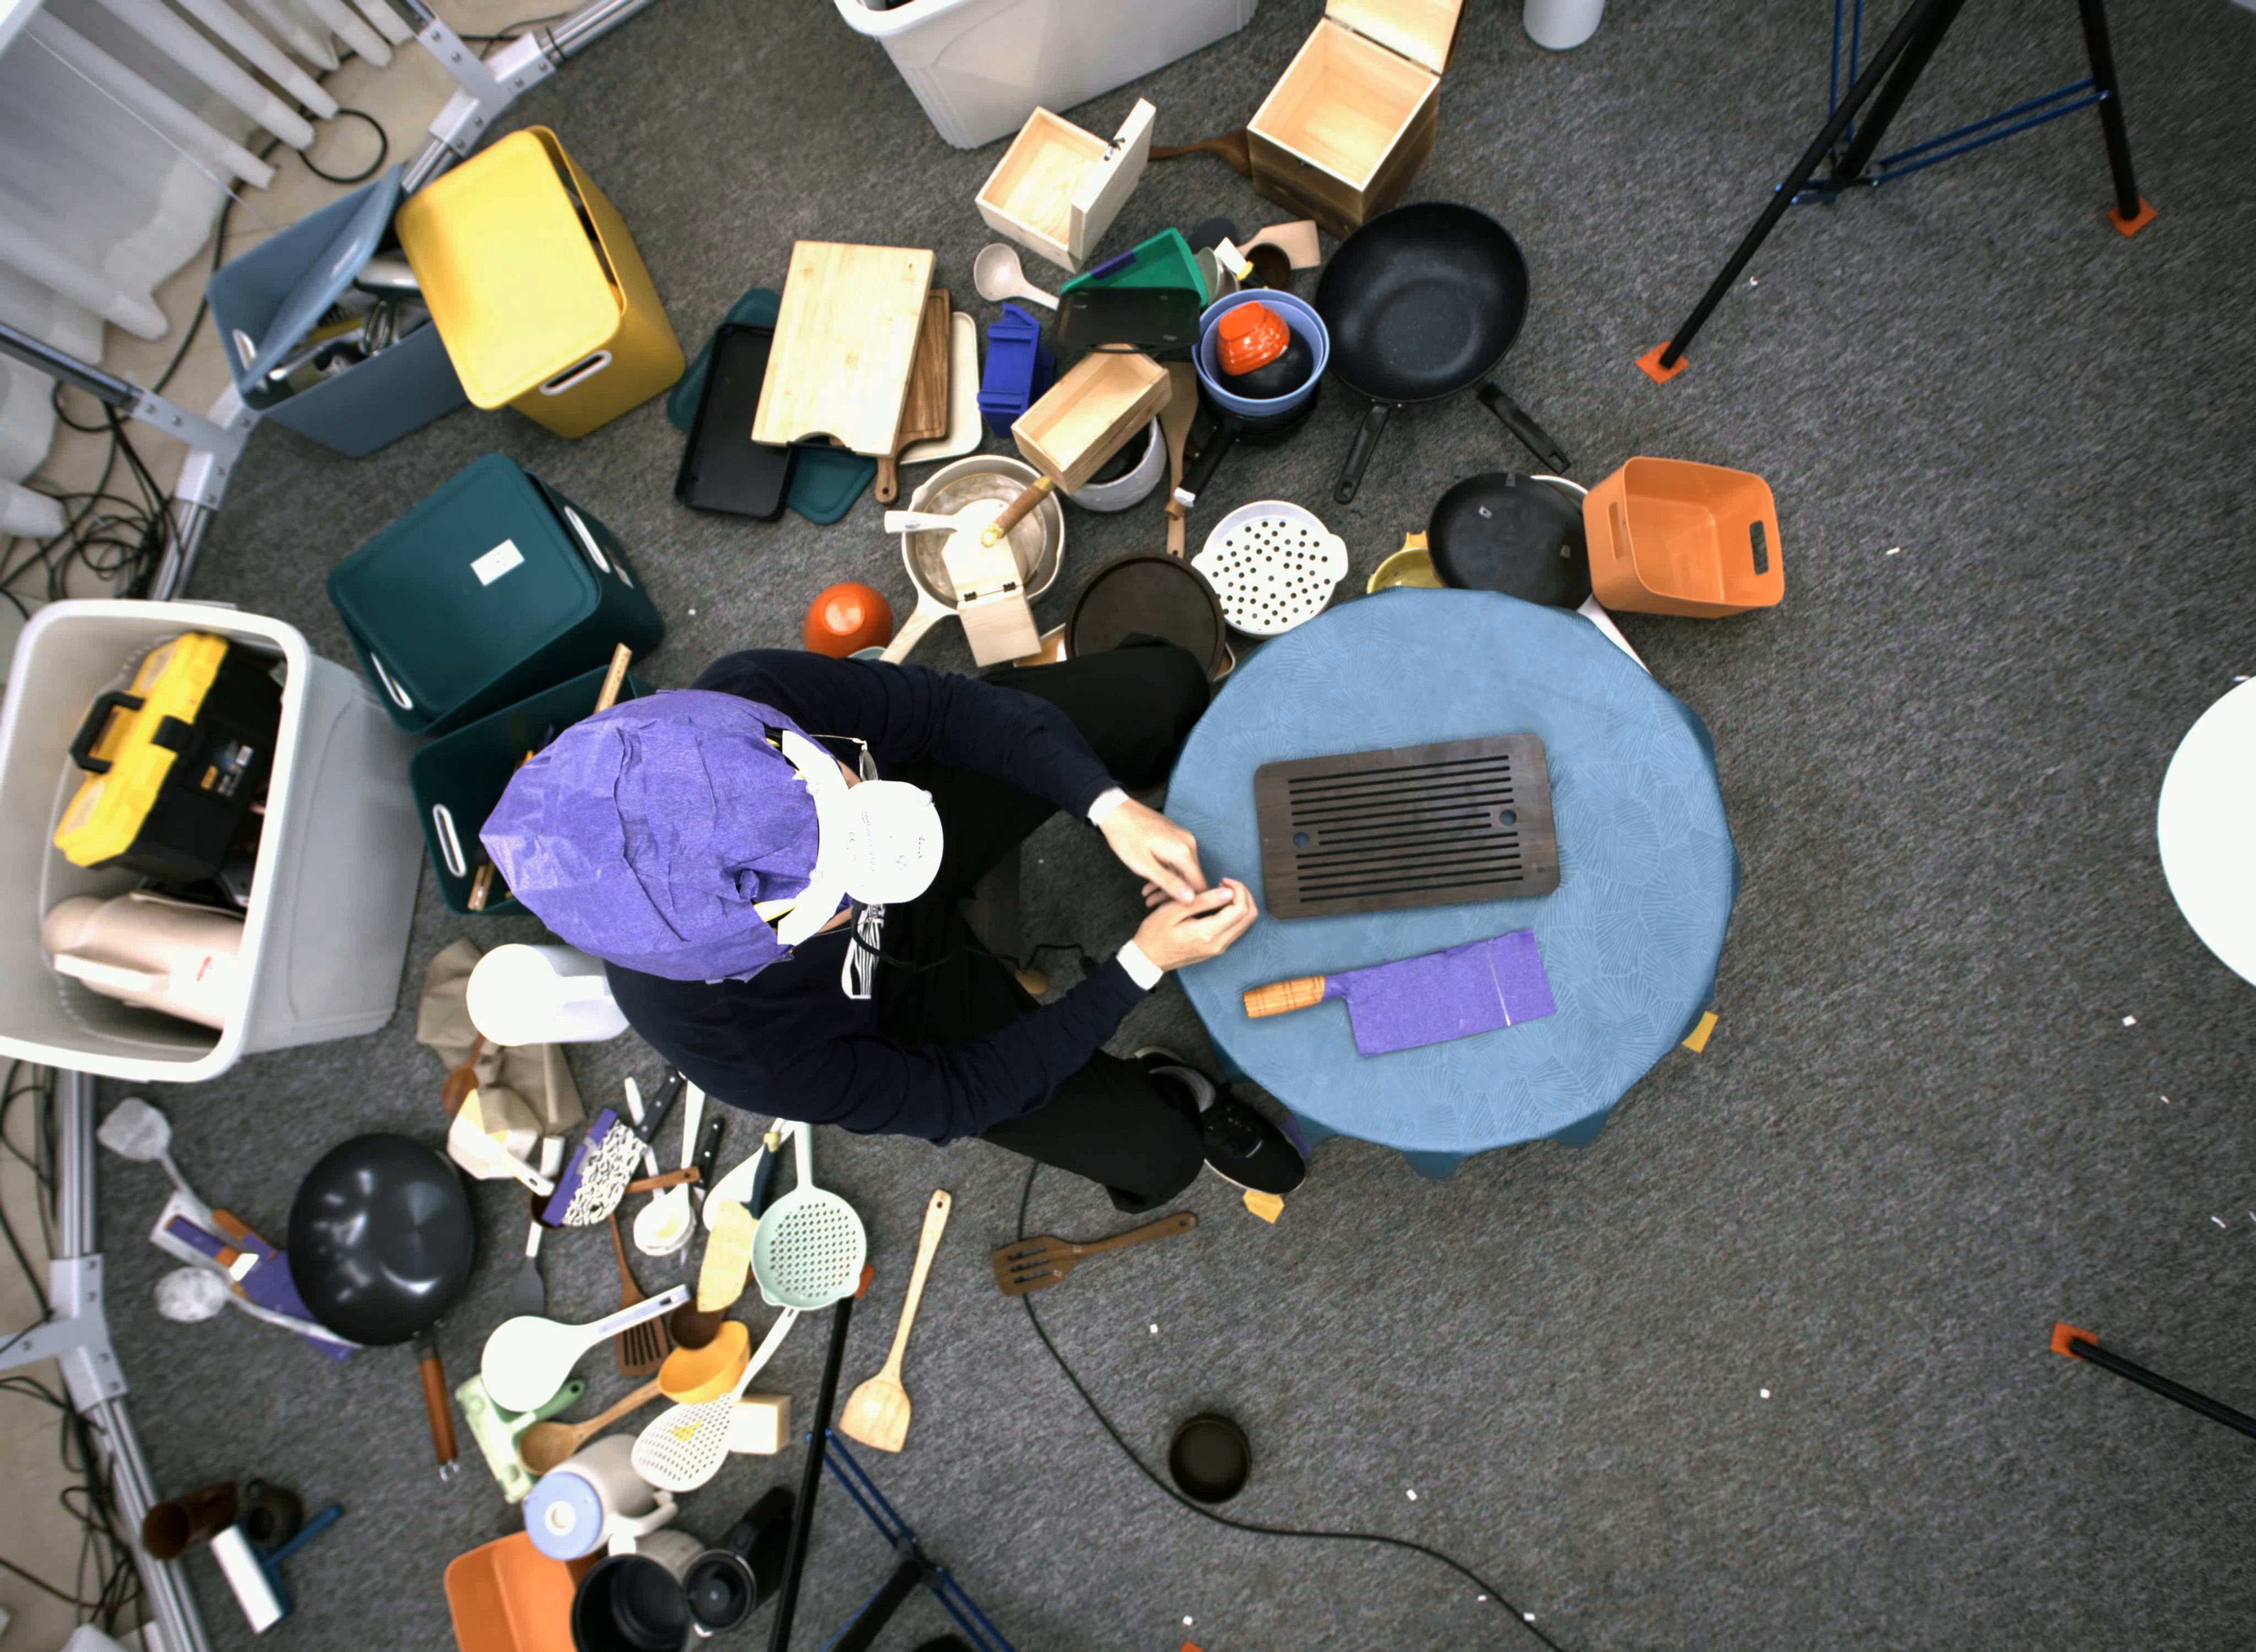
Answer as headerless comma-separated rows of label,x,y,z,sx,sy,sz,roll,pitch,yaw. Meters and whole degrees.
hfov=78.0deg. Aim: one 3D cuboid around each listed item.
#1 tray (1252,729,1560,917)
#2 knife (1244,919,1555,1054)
tray,0.290,-0.003,1.451,0.307,0.018,0.169,-7,86,11
knife,0.282,0.182,1.438,0.317,0.032,0.103,-15,84,9
